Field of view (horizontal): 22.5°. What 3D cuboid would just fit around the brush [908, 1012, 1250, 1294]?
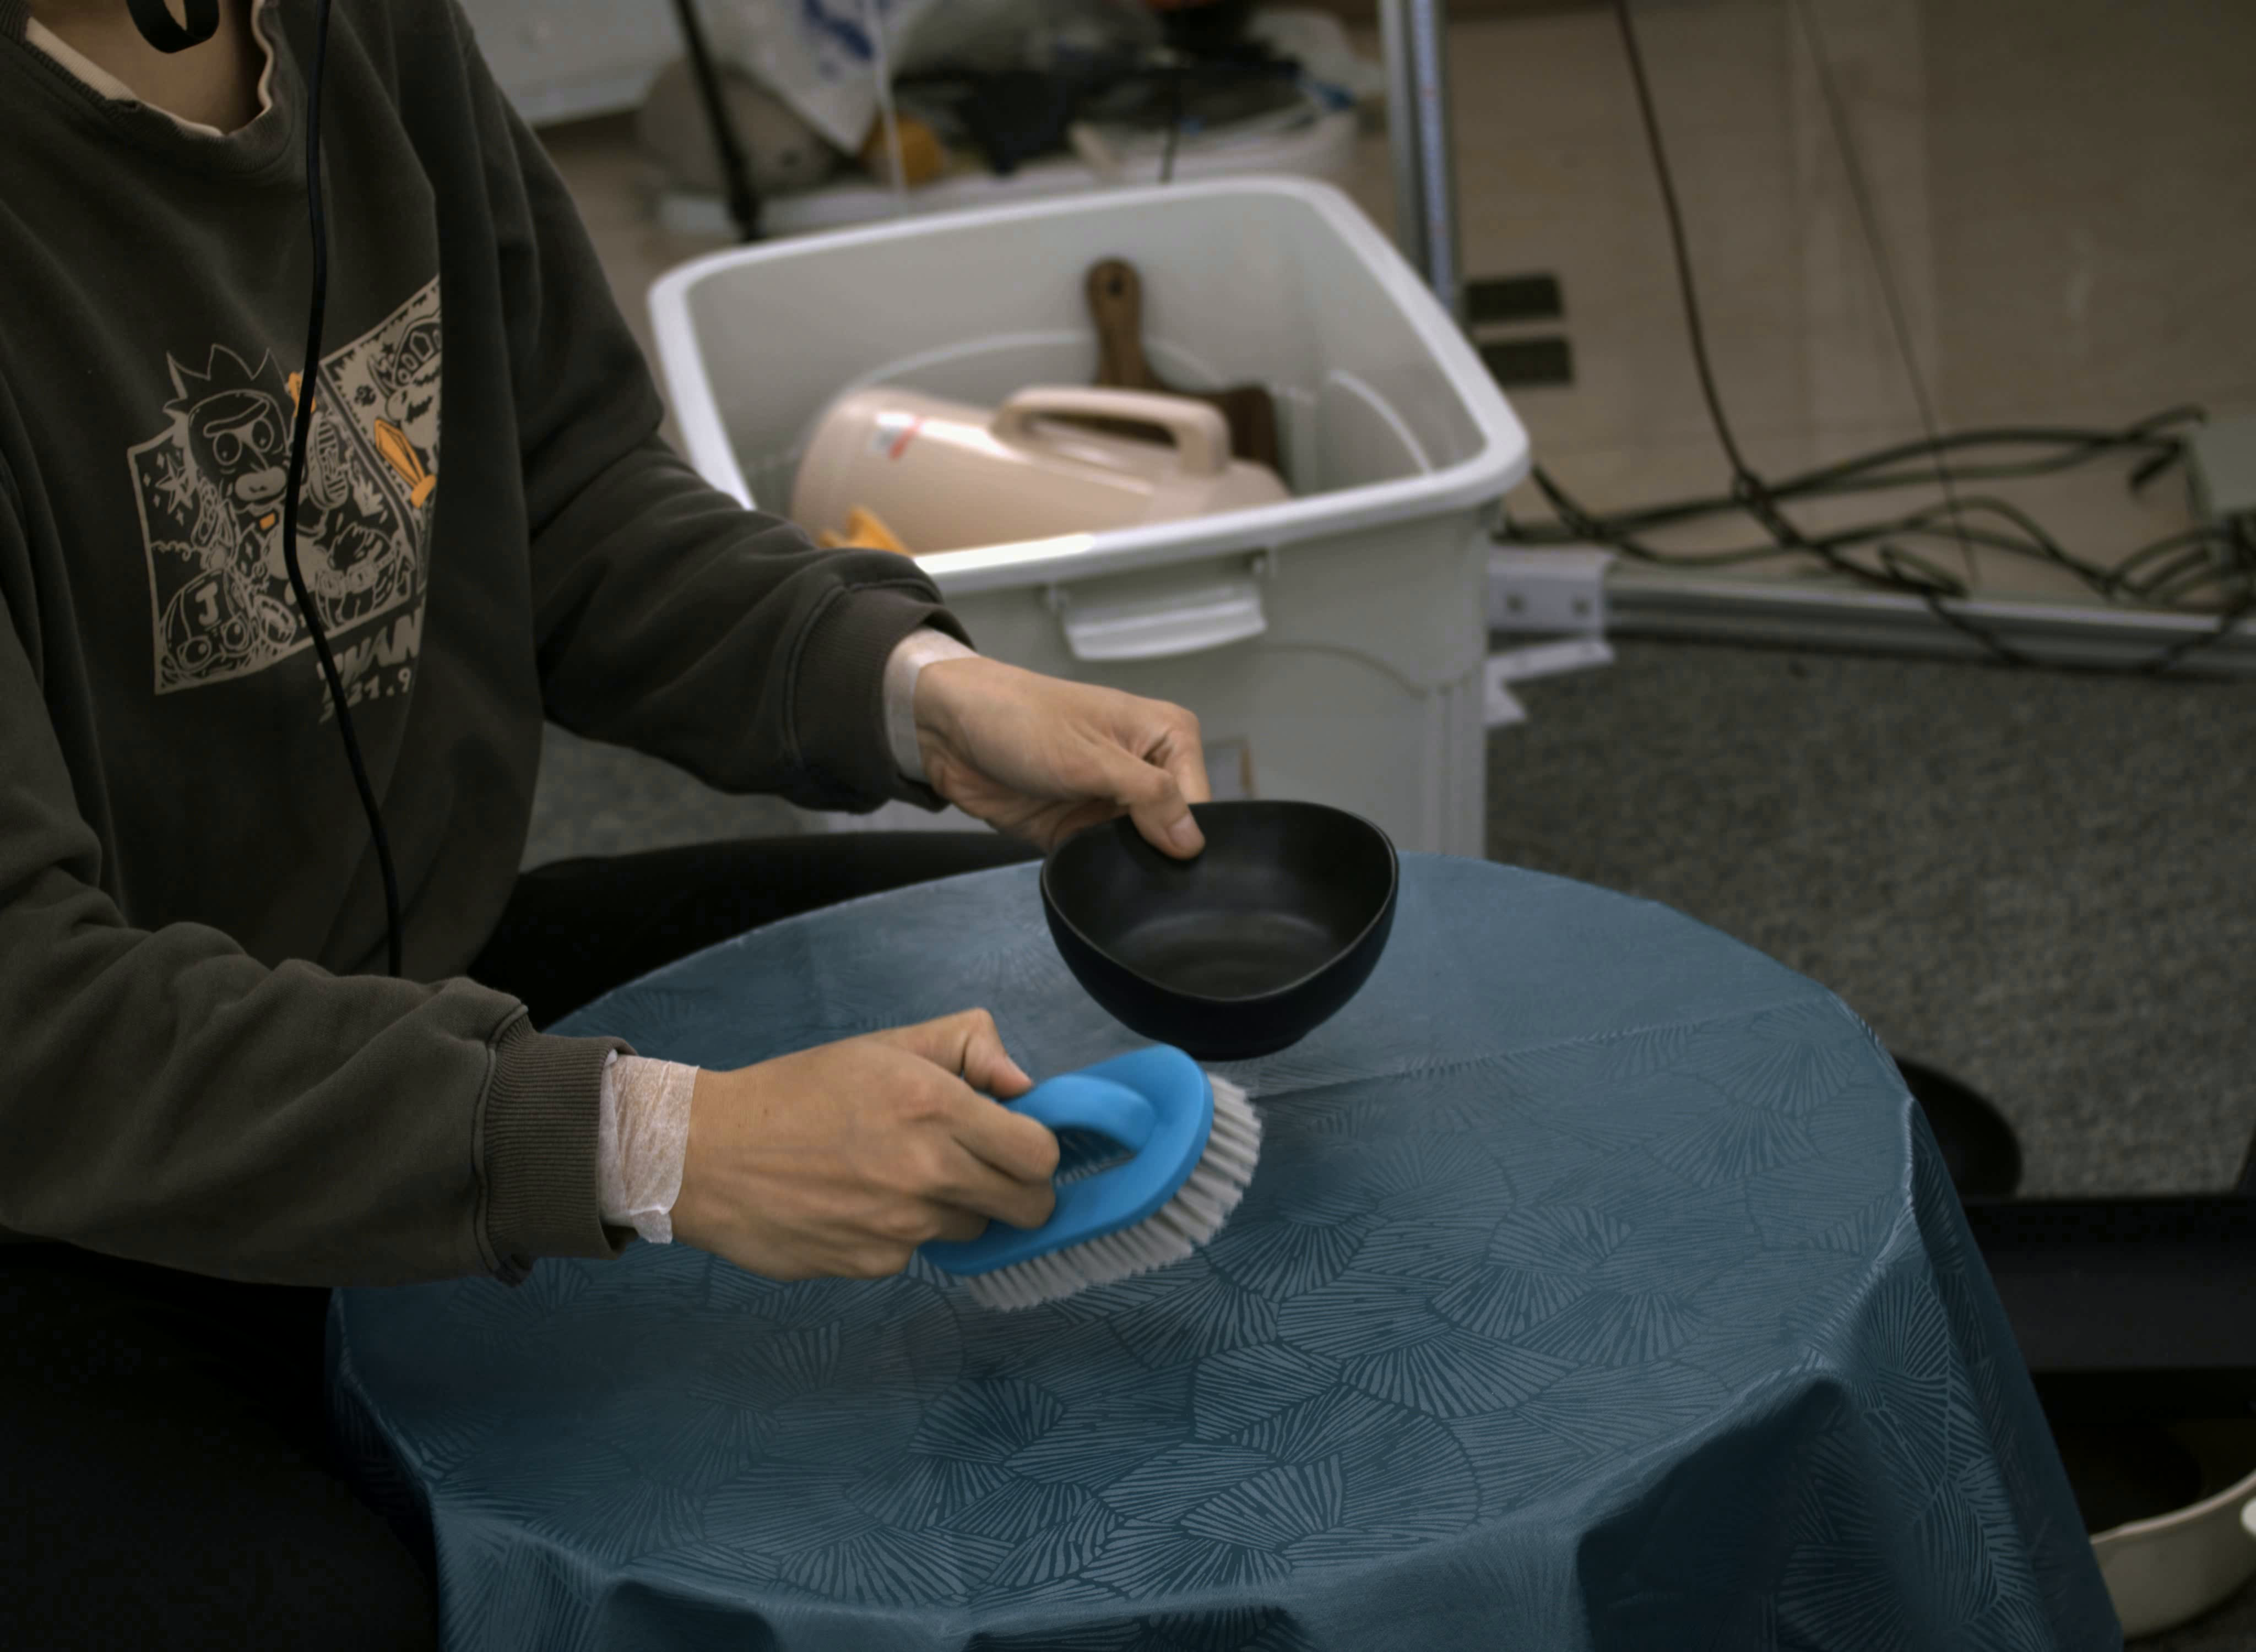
[{"bbox_3d":[-0.028,0.112,2.023,0.142,0.064,0.083,-19,51,39],"label":"brush"}]

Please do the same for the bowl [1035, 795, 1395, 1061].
[{"bbox_3d":[0.036,0.046,2.170,0.137,0.068,0.168,-8,25,-5],"label":"bowl"}]
